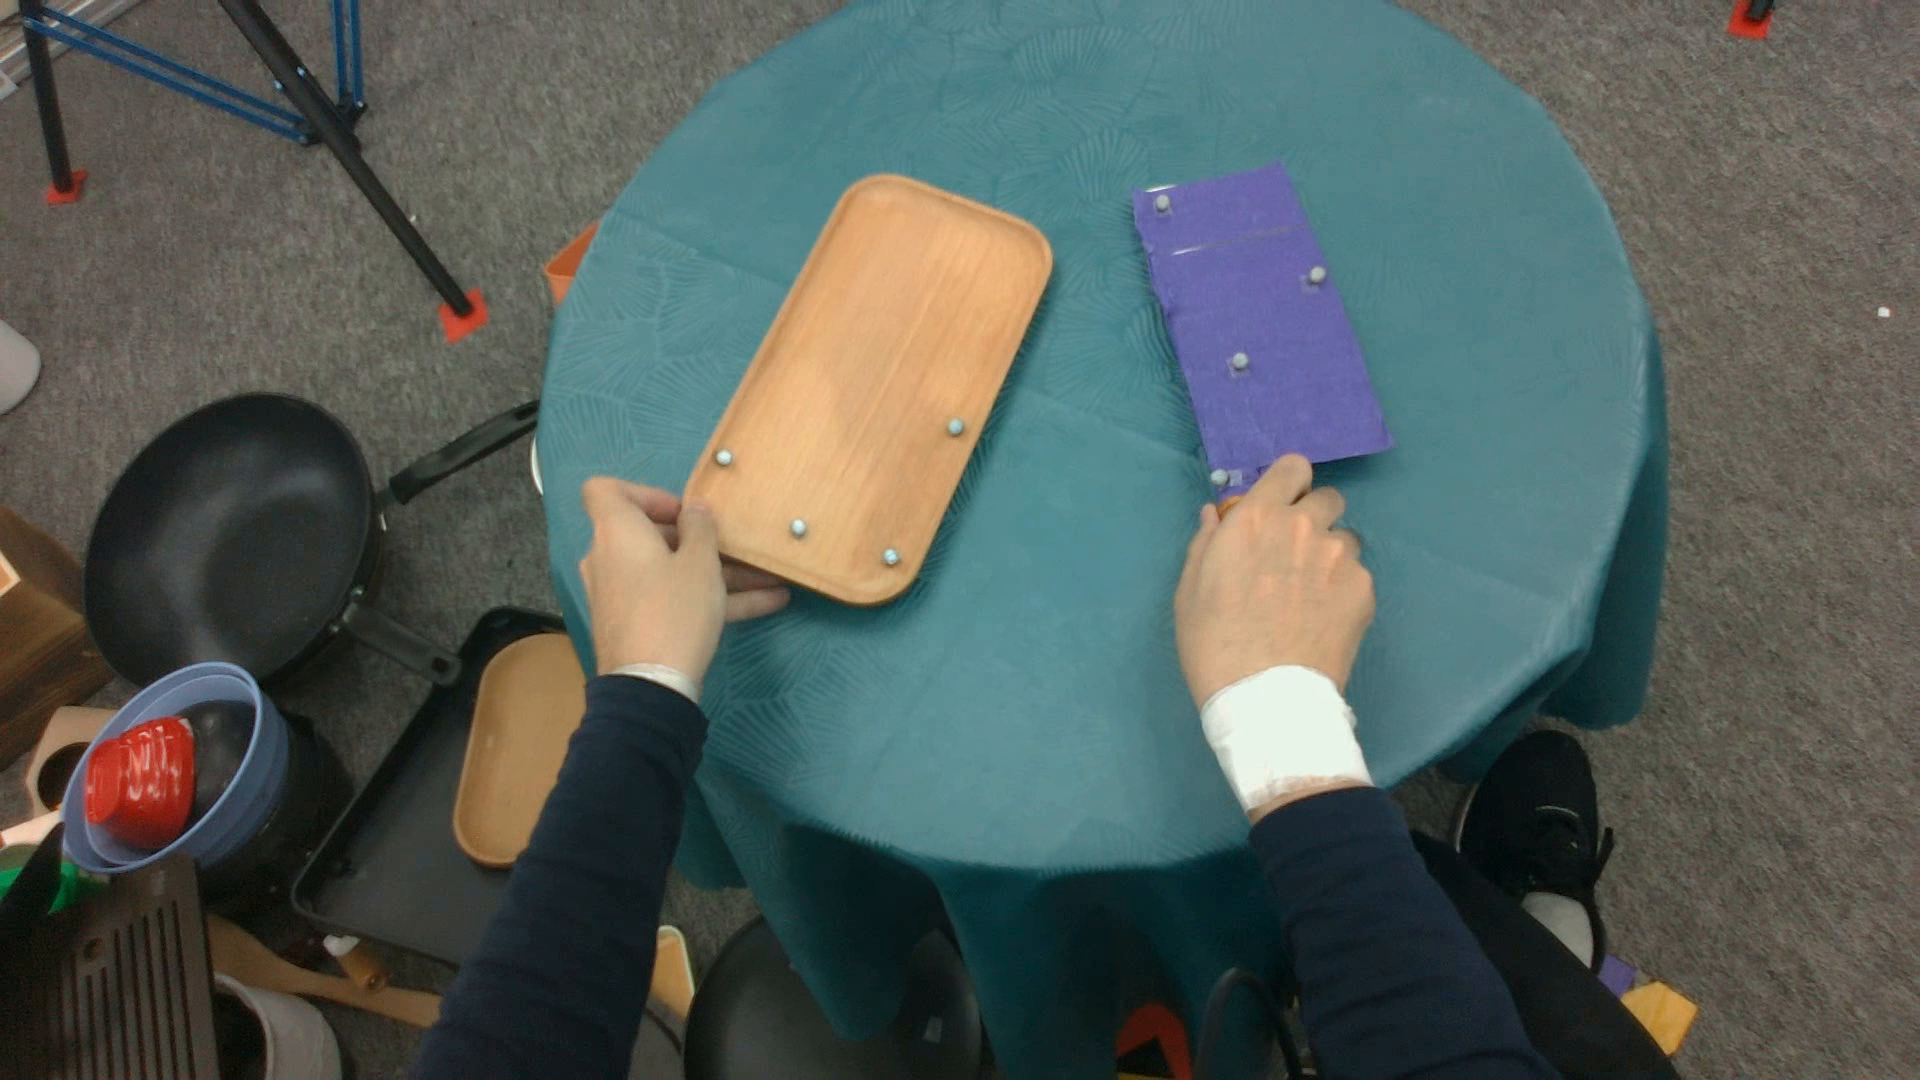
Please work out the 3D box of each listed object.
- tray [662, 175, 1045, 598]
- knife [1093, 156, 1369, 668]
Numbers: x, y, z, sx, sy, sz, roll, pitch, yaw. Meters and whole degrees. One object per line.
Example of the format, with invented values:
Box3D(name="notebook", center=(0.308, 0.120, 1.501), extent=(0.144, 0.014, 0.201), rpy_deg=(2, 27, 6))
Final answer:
Box3D(name="tray", center=(-0.052, -0.089, 0.735), extent=(0.130, 0.023, 0.252), rpy_deg=(23, 64, 6))
Box3D(name="knife", center=(0.152, -0.085, 0.702), extent=(0.104, 0.032, 0.316), rpy_deg=(-10, 59, -2))
